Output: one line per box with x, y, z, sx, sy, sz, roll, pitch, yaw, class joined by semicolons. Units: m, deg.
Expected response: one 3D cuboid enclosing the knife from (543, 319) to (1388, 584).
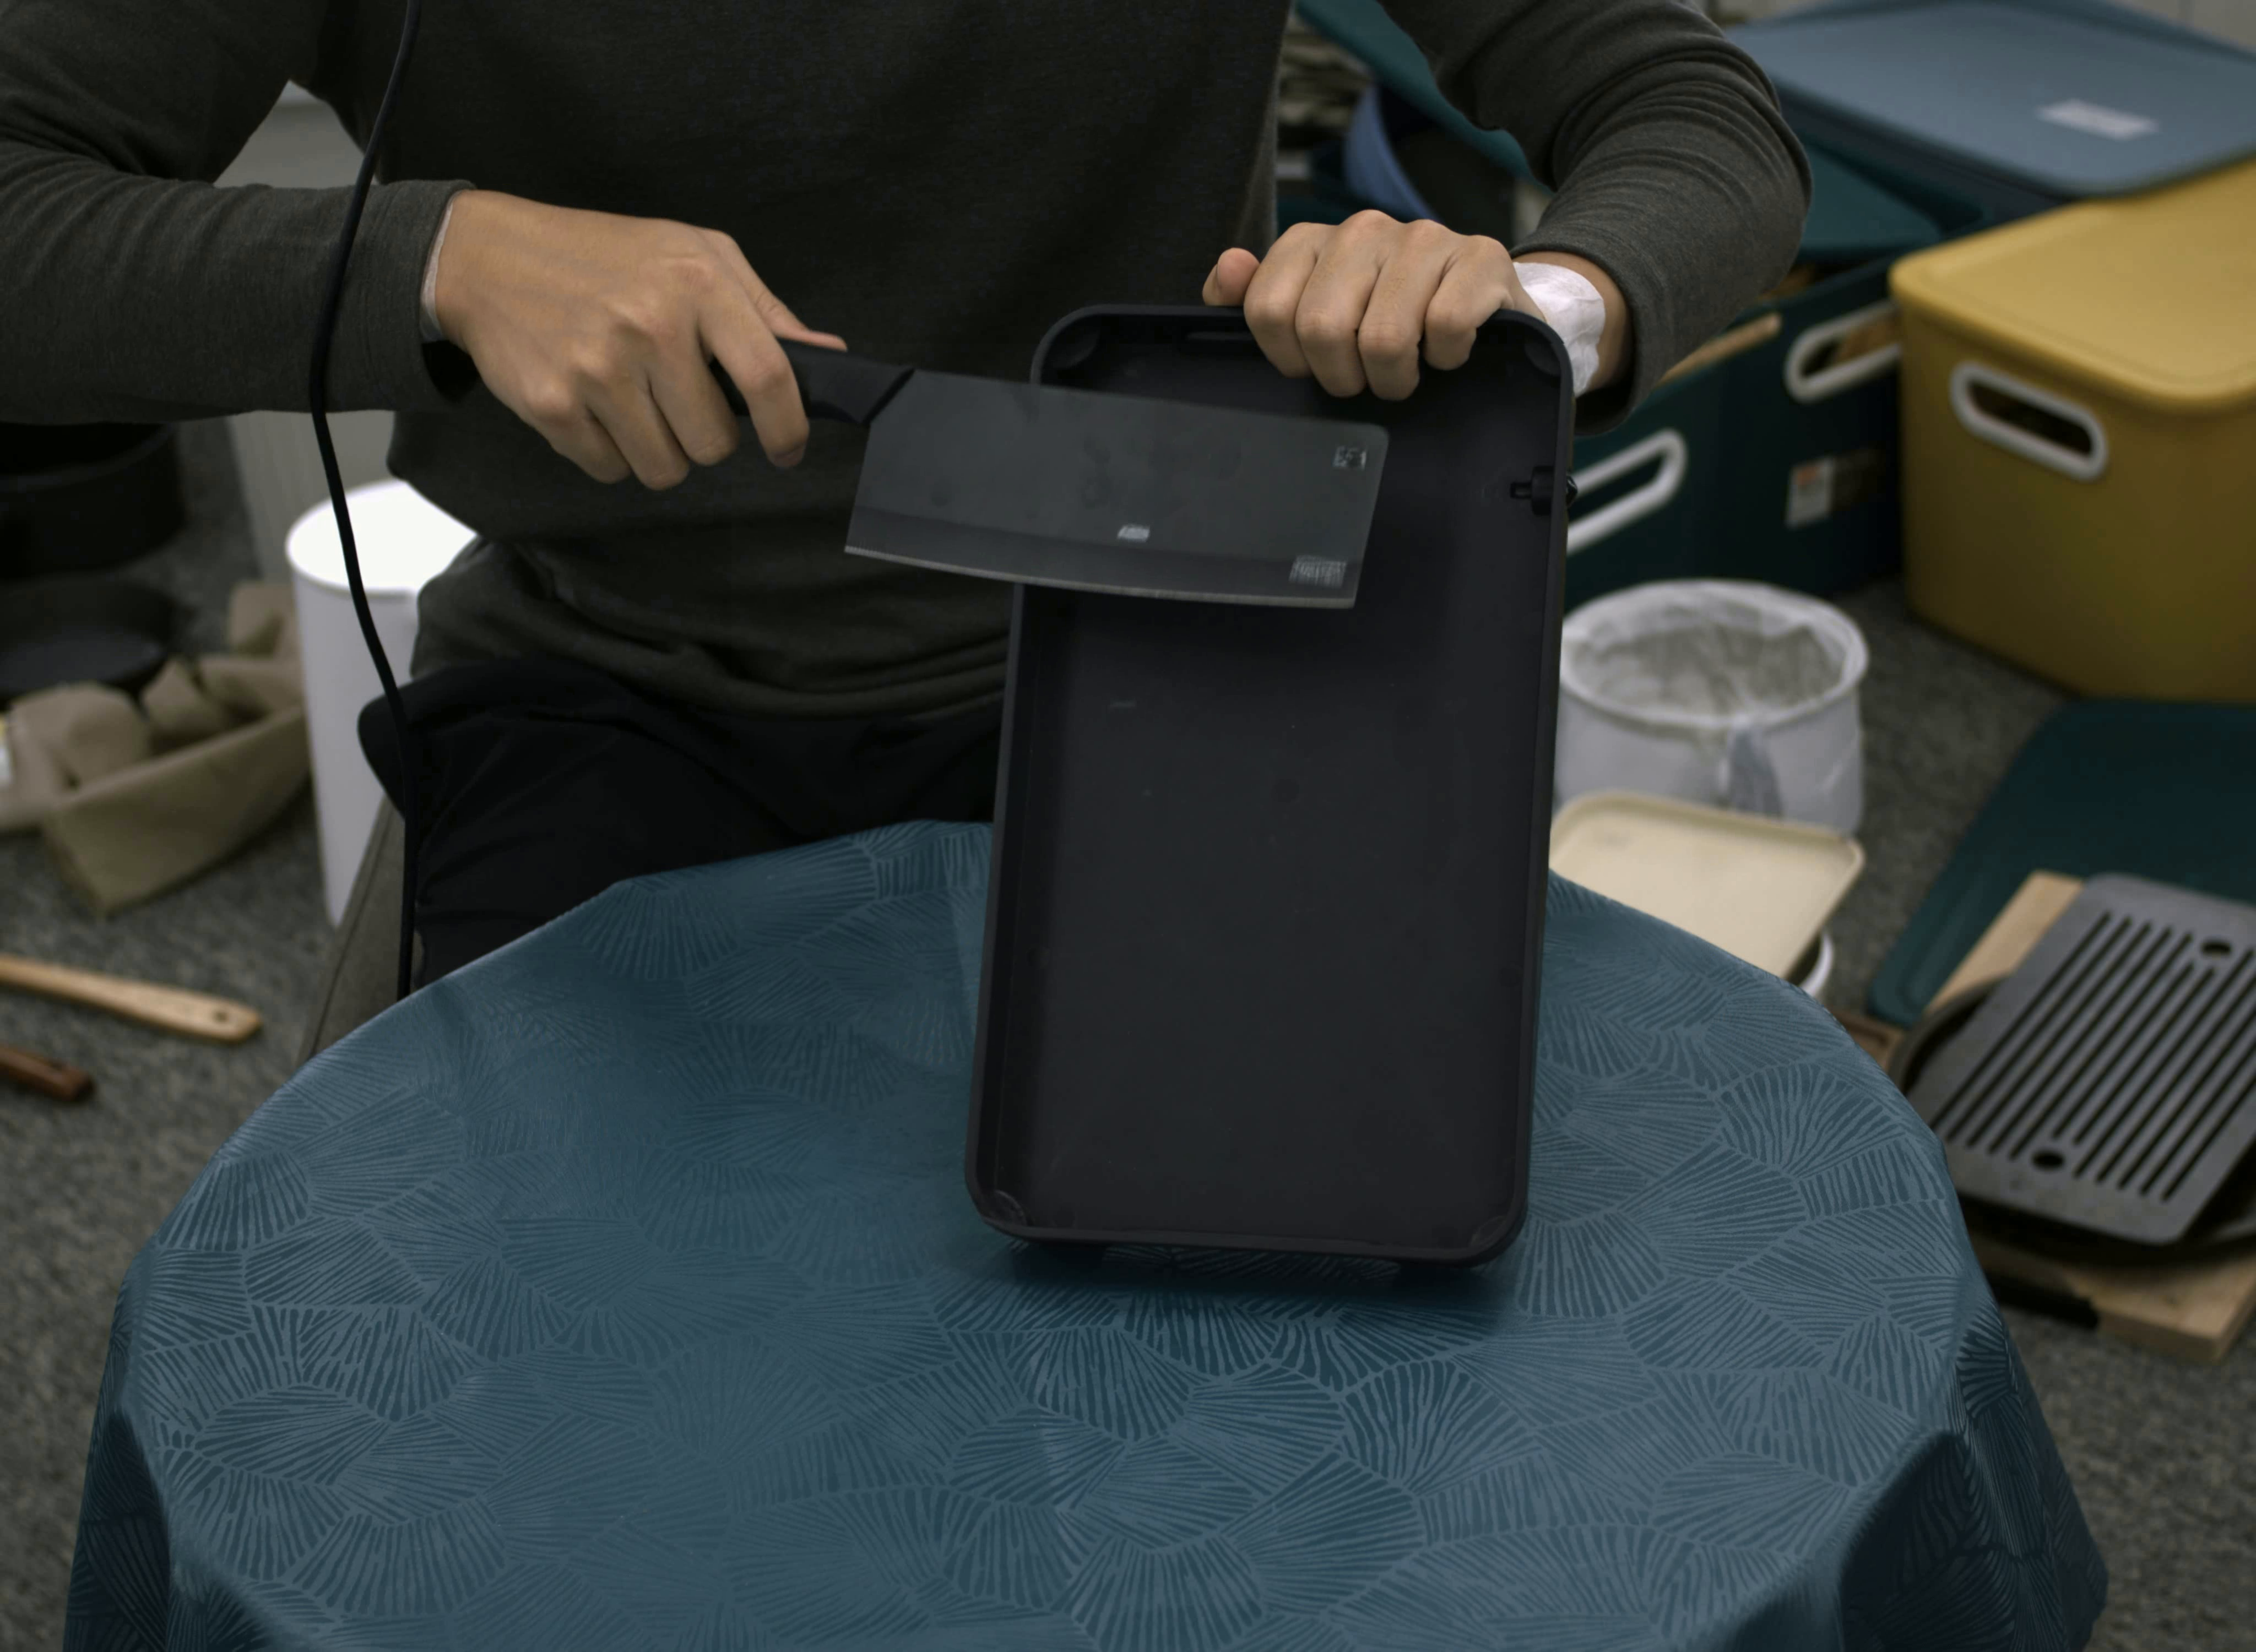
-0.058;-0.128;1.882;0.300;0.082;0.021;12;-13;20;knife

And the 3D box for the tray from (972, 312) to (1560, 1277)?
0.048;-0.011;1.845;0.183;0.322;0.037;0;-16;9;tray
